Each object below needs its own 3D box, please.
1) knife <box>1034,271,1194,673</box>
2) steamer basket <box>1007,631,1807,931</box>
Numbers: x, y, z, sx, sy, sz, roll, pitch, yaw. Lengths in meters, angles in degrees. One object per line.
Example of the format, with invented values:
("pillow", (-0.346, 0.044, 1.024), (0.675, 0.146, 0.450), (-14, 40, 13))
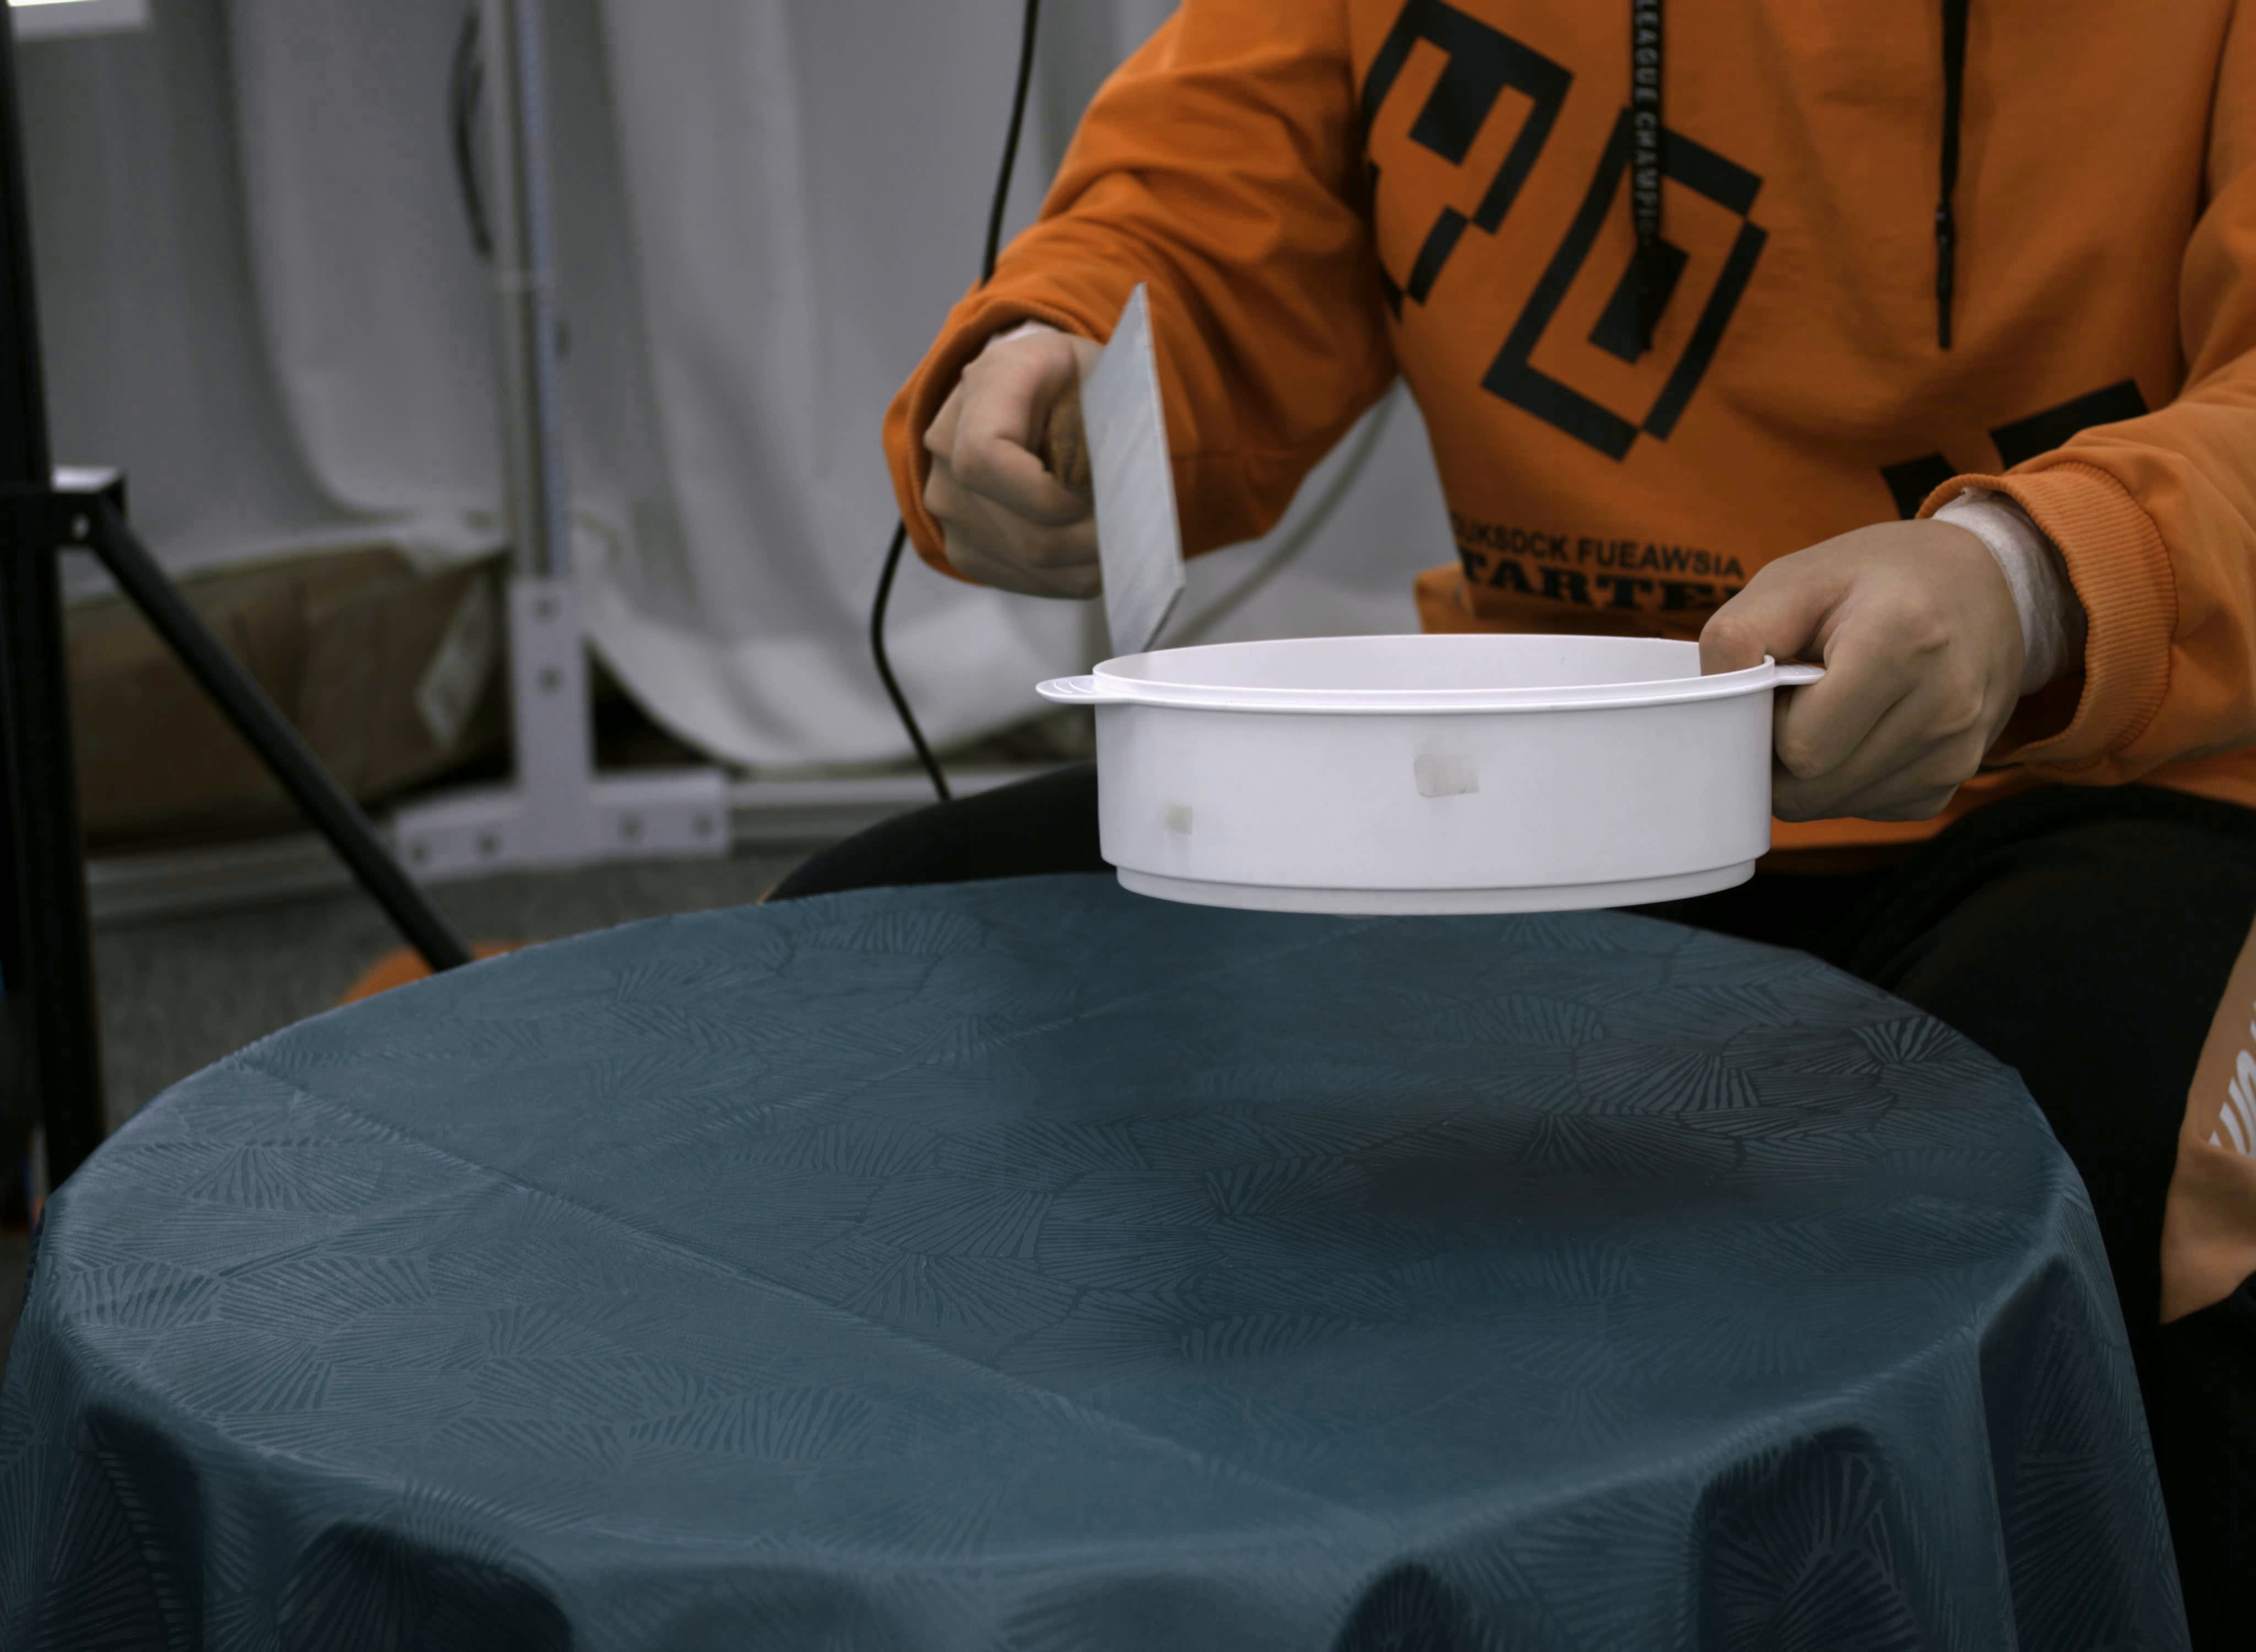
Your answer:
("knife", (-0.002, -0.096, 1.642), (0.021, 0.093, 0.306), (-8, -6, -7))
("steamer basket", (0.081, -0.013, 1.527), (0.228, 0.069, 0.203), (-5, 6, -7))
